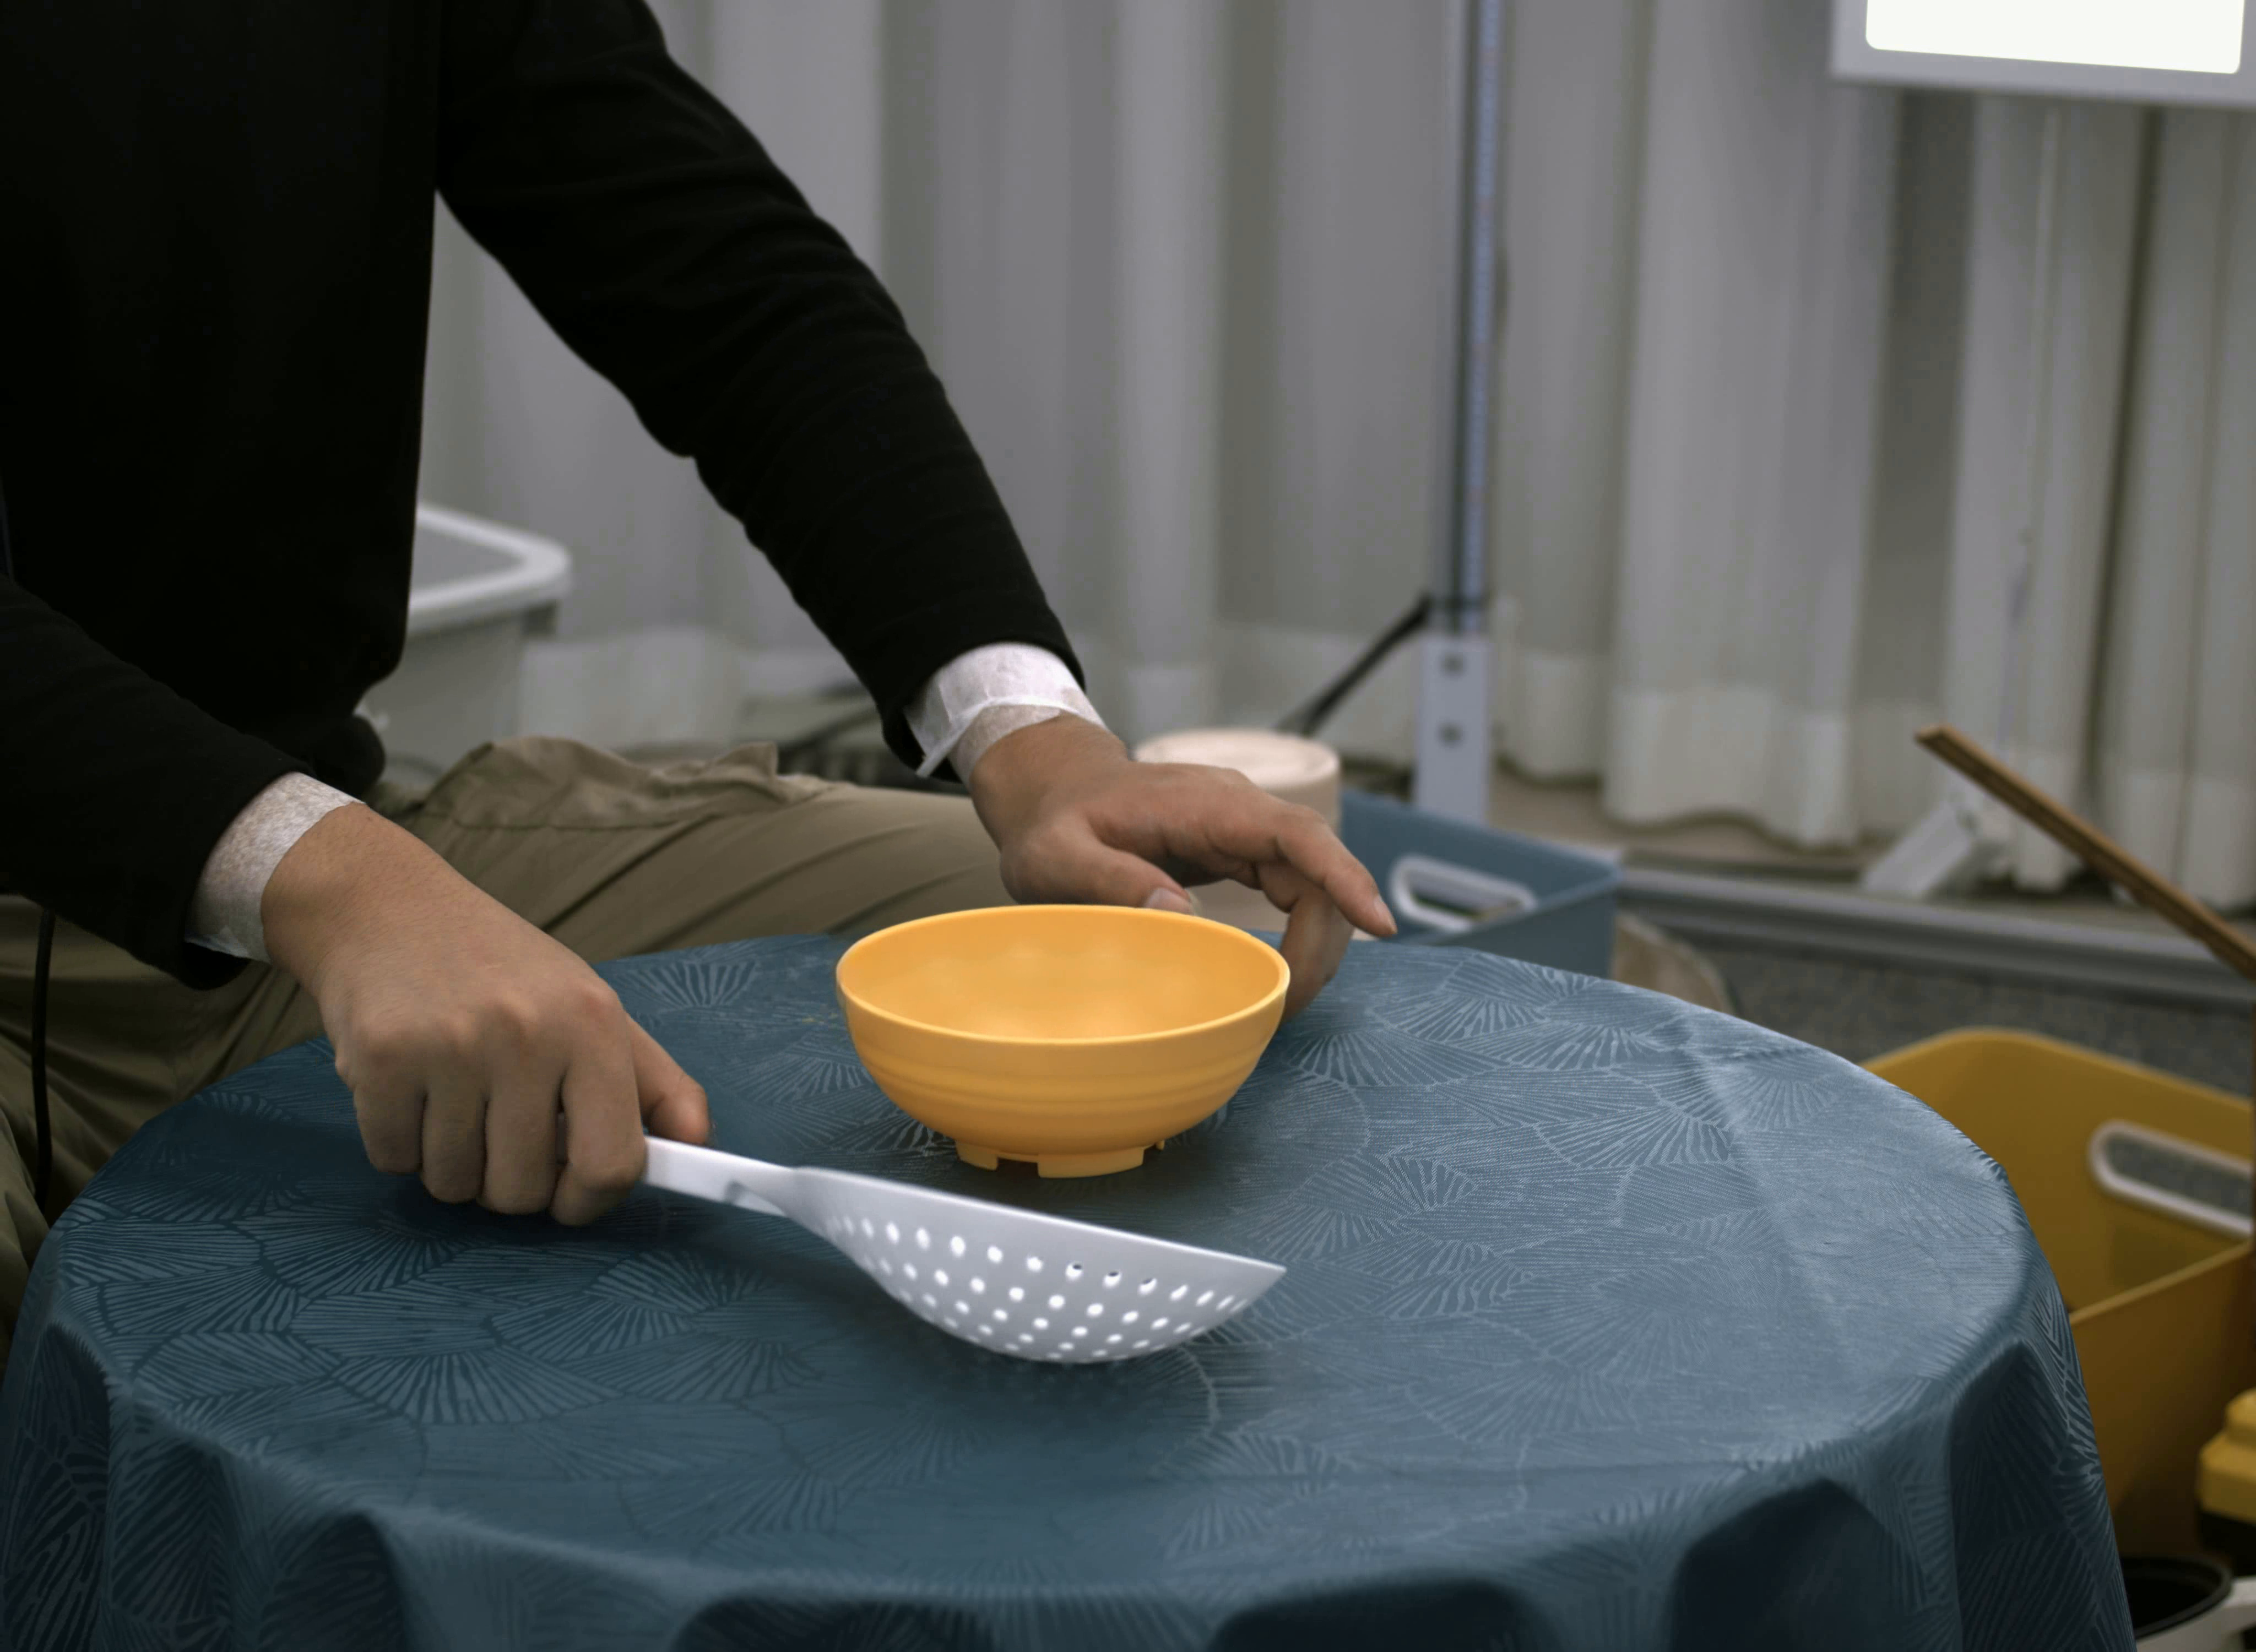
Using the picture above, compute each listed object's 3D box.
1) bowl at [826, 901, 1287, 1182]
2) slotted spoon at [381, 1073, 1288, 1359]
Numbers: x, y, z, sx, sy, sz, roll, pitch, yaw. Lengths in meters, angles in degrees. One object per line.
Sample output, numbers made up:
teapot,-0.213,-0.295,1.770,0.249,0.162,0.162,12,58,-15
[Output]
bowl,-0.023,0.073,1.656,0.145,0.060,0.144,3,17,0
slotted spoon,-0.101,0.104,1.538,0.345,0.046,0.137,15,-3,42
